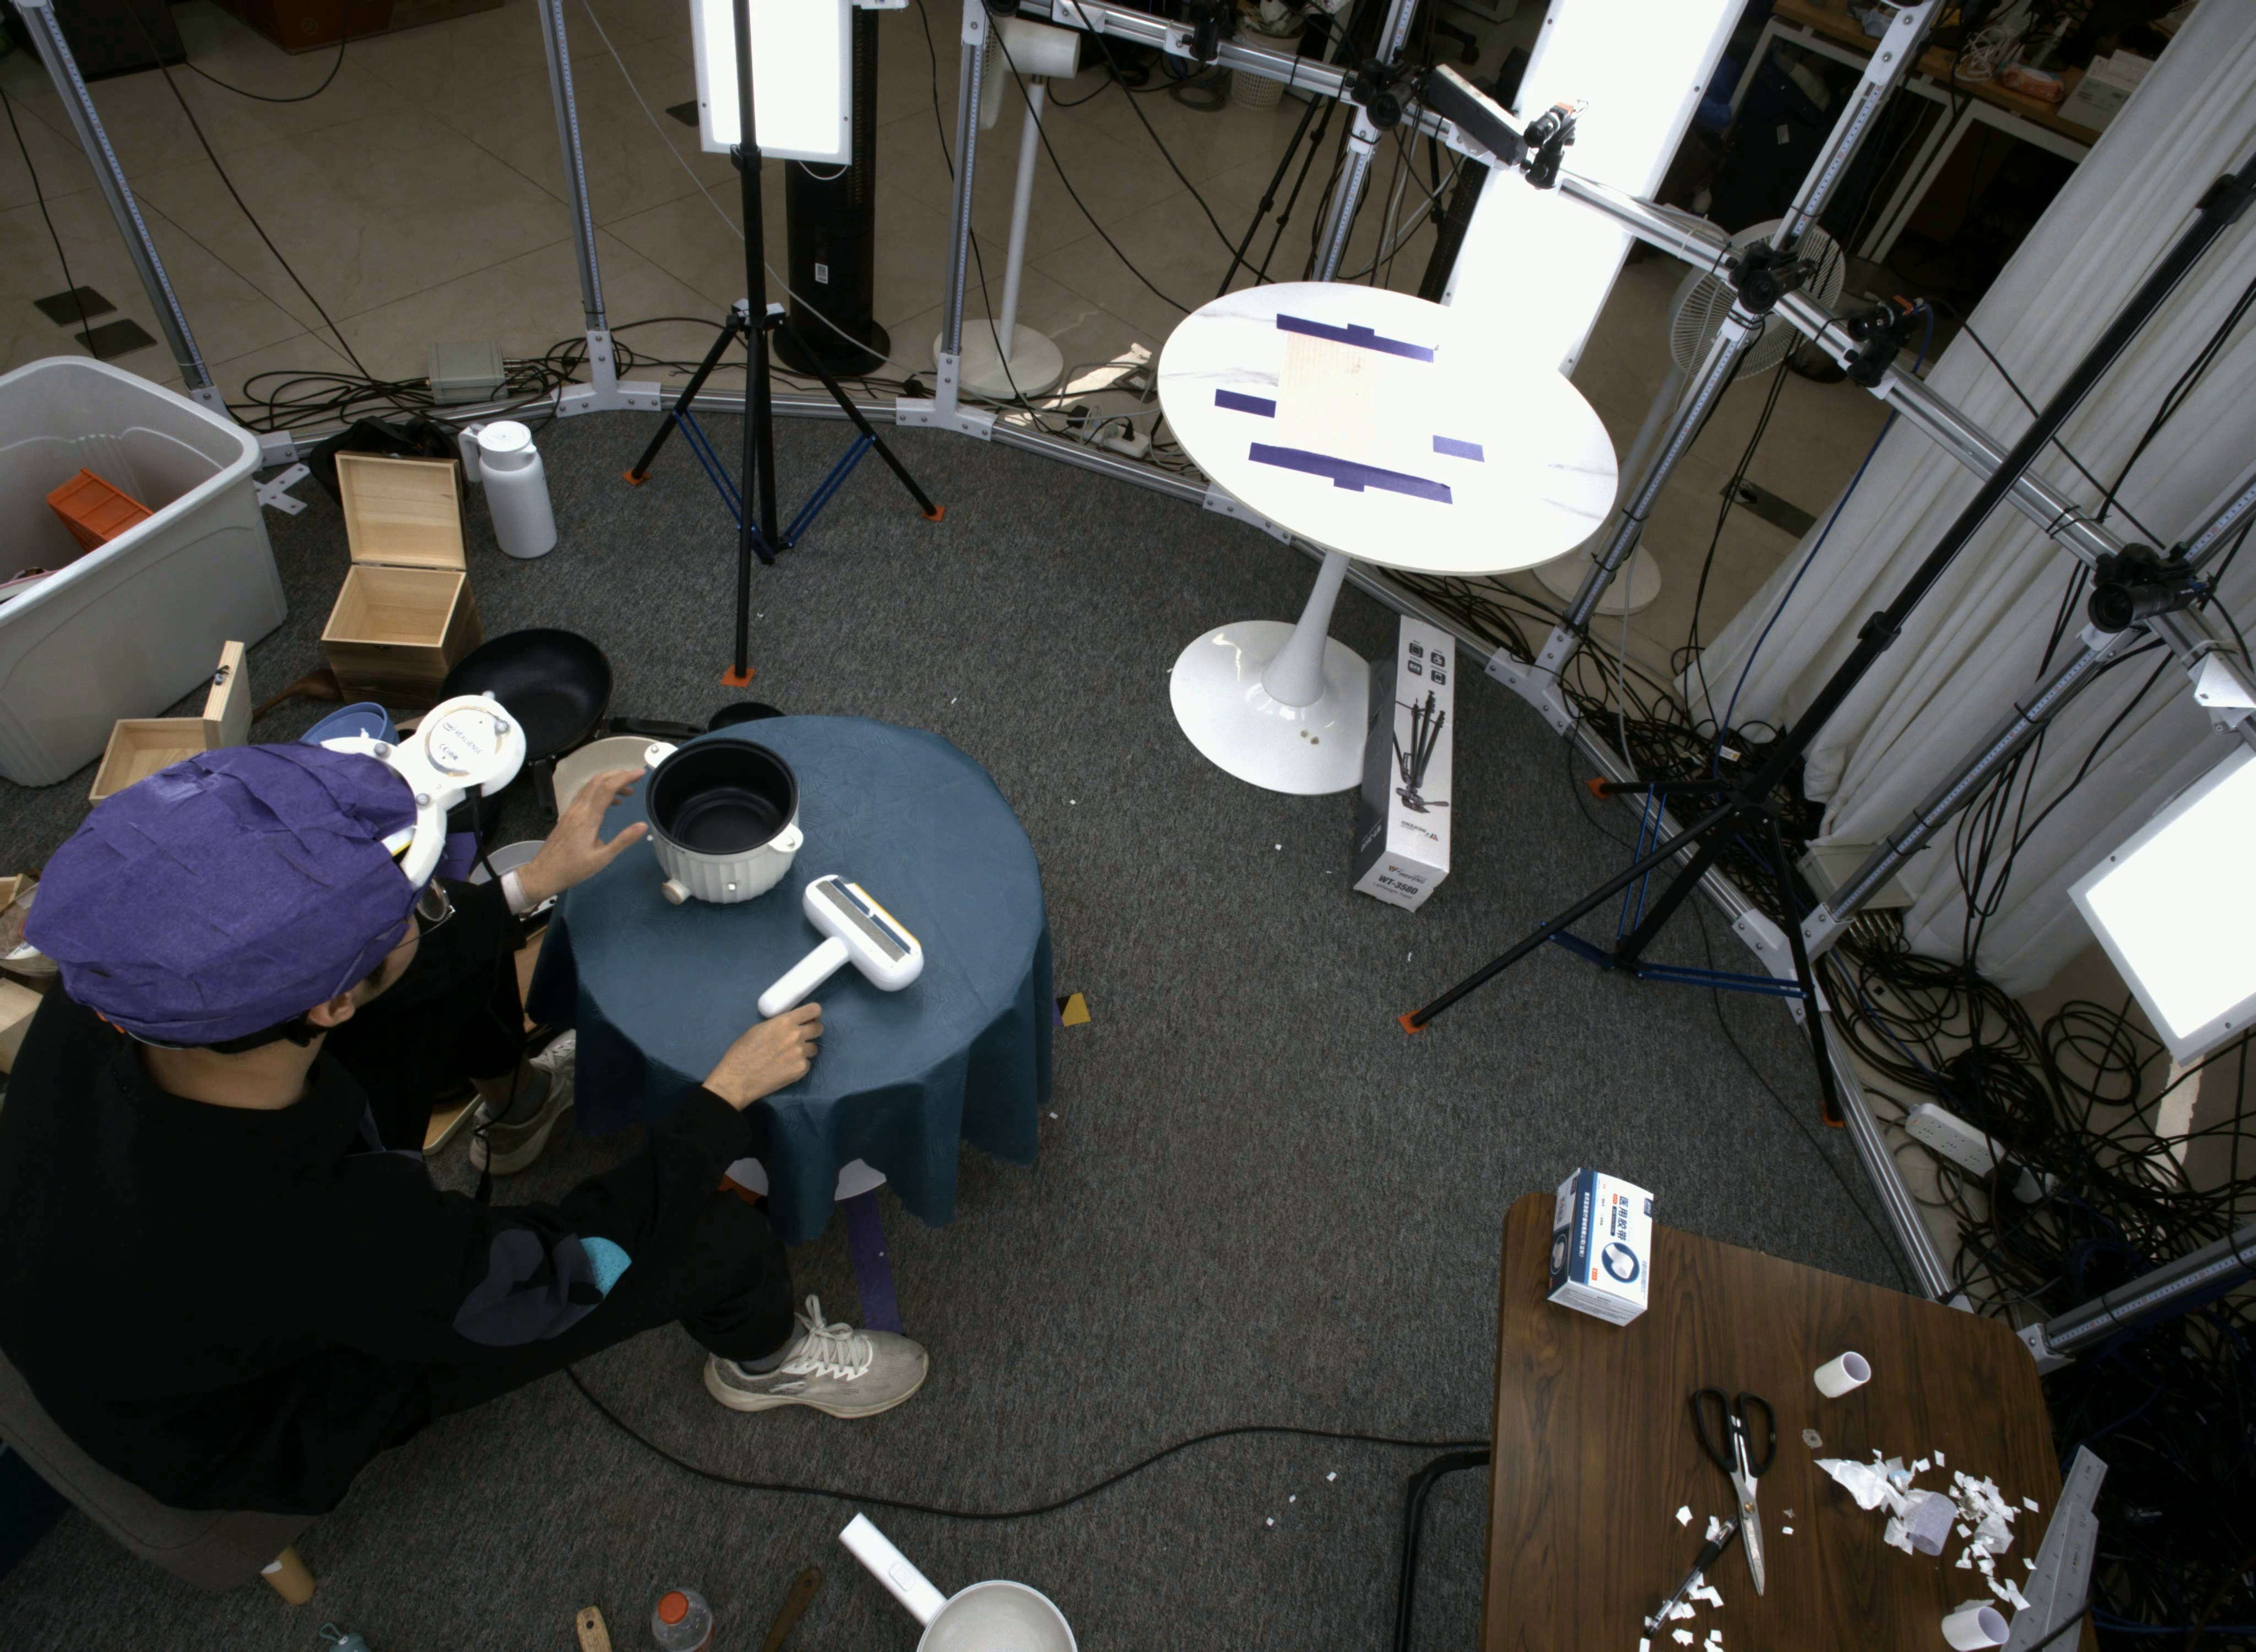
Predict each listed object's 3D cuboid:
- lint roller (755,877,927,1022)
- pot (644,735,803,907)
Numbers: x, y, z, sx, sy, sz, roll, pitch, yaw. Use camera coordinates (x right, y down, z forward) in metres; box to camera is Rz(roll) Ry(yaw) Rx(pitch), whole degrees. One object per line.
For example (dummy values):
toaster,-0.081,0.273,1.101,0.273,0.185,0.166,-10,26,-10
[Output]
lint roller,-0.368,0.164,1.579,0.193,0.076,0.187,-31,61,-30
pot,-0.507,0.003,1.616,0.236,0.145,0.190,30,50,11
